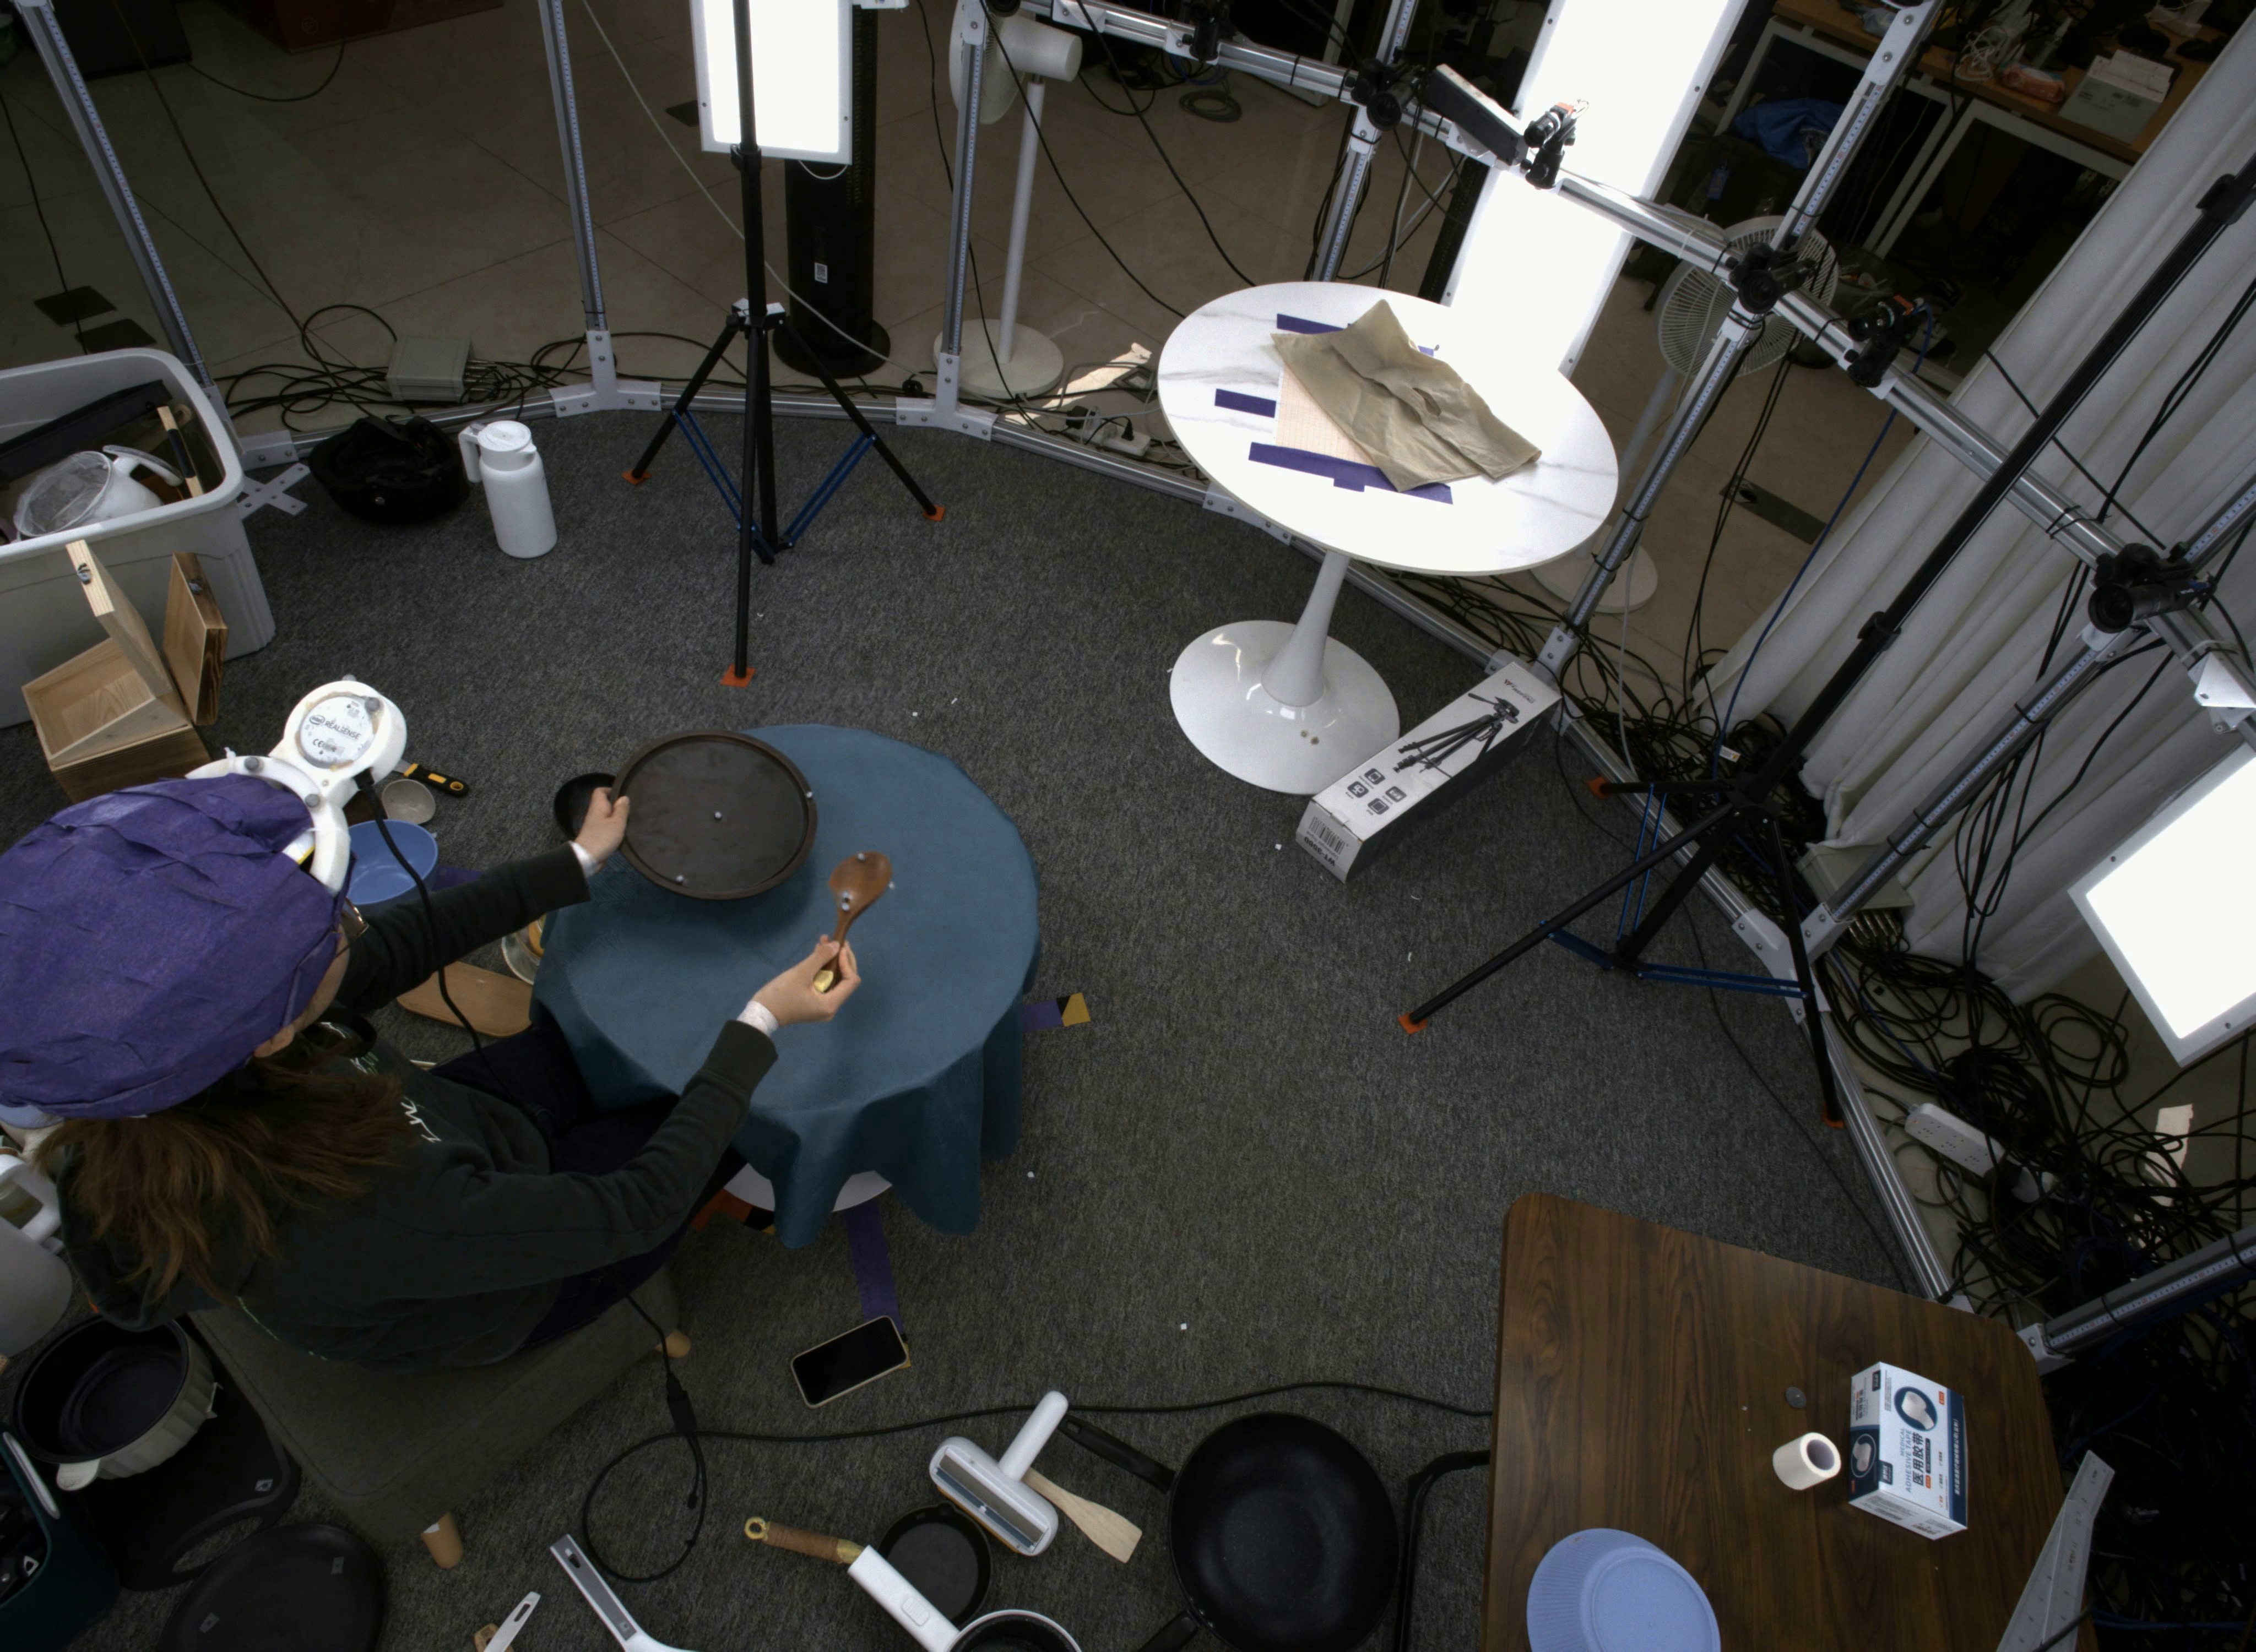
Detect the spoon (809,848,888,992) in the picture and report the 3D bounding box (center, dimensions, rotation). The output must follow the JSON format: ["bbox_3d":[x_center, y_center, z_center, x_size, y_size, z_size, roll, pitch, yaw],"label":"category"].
[{"bbox_3d":[-0.323,0.101,1.469,0.074,0.018,0.212,0,43,8],"label":"spoon"}]

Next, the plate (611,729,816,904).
[{"bbox_3d":[-0.518,-0.015,1.610,0.257,0.029,0.250,14,54,-17],"label":"plate"}]
